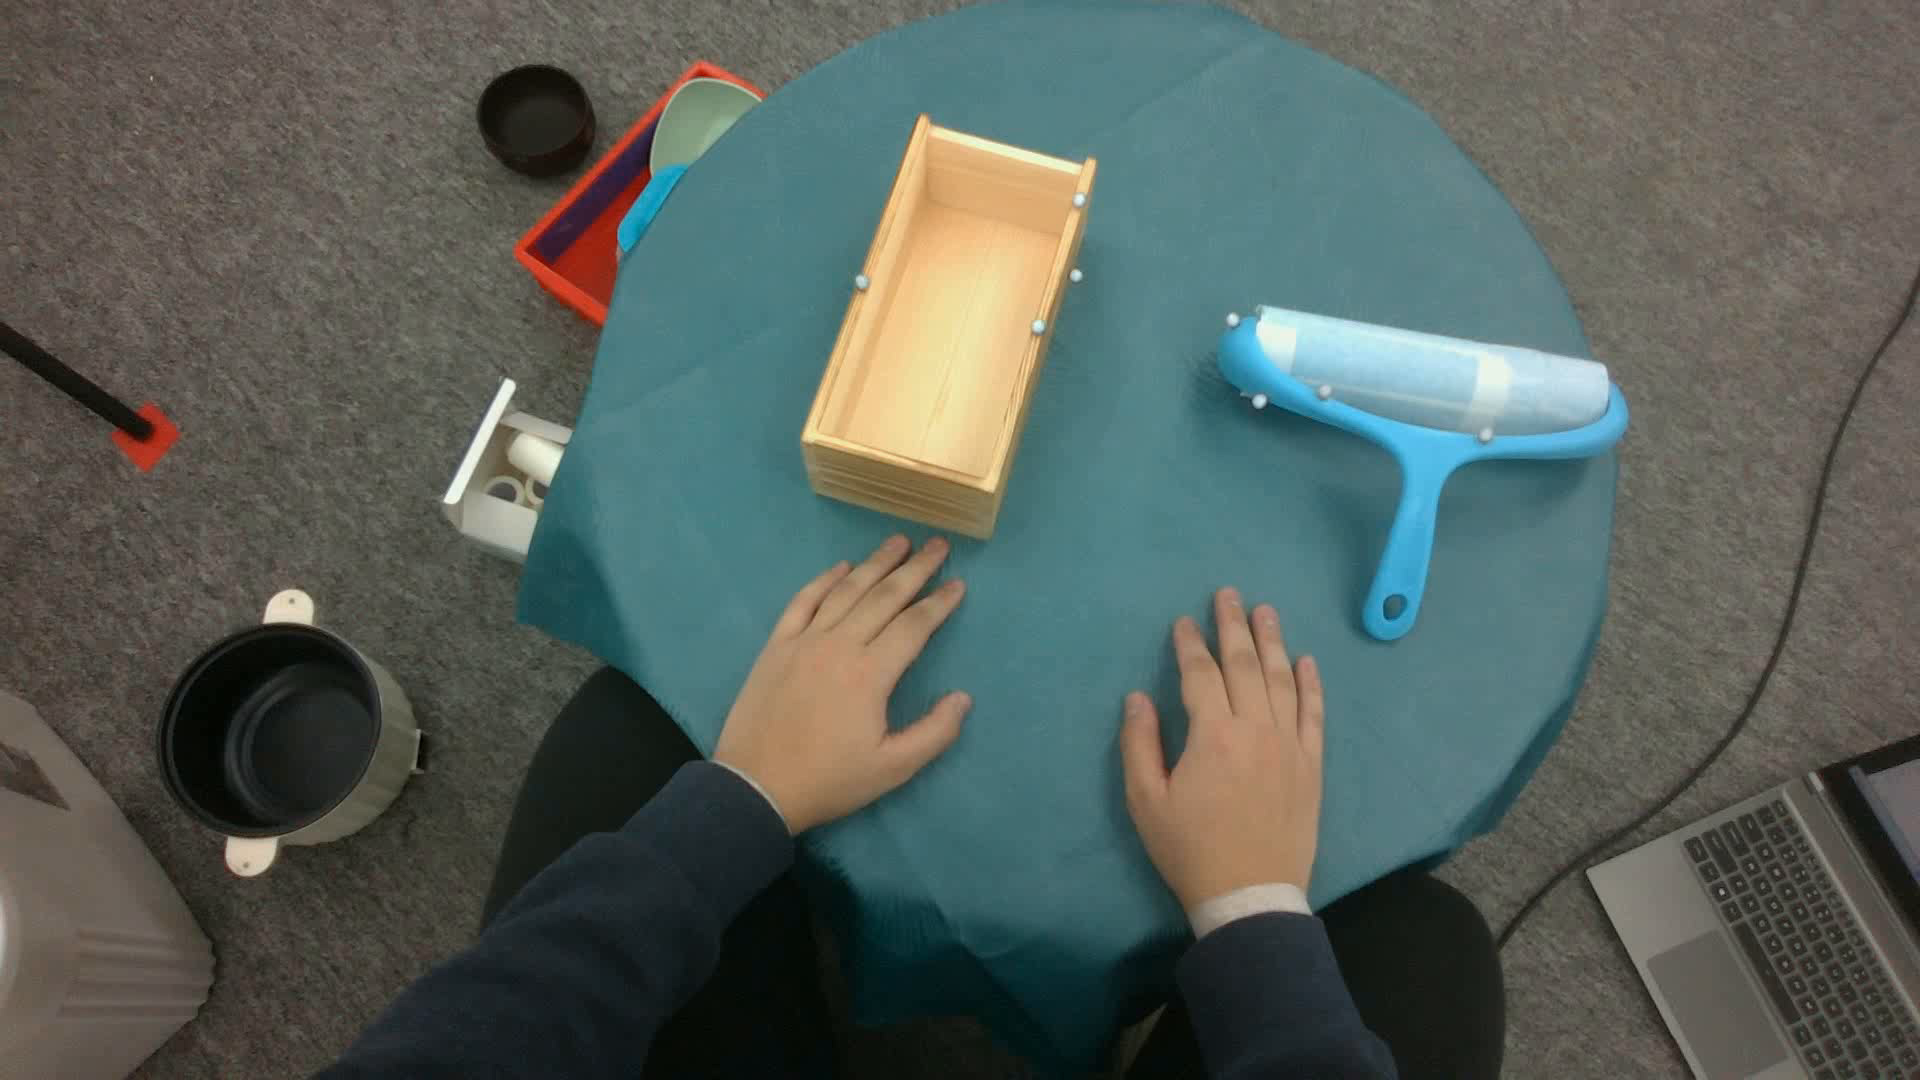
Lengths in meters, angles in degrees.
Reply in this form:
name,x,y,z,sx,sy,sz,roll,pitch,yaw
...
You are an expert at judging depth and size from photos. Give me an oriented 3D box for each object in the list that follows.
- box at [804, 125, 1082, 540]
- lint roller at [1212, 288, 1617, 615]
name,x,y,z,sx,sy,sz,roll,pitch,yaw
box,-0.006,-0.119,0.788,0.107,0.080,0.212,12,71,5
lint roller,0.254,-0.052,0.773,0.229,0.067,0.181,7,69,1
